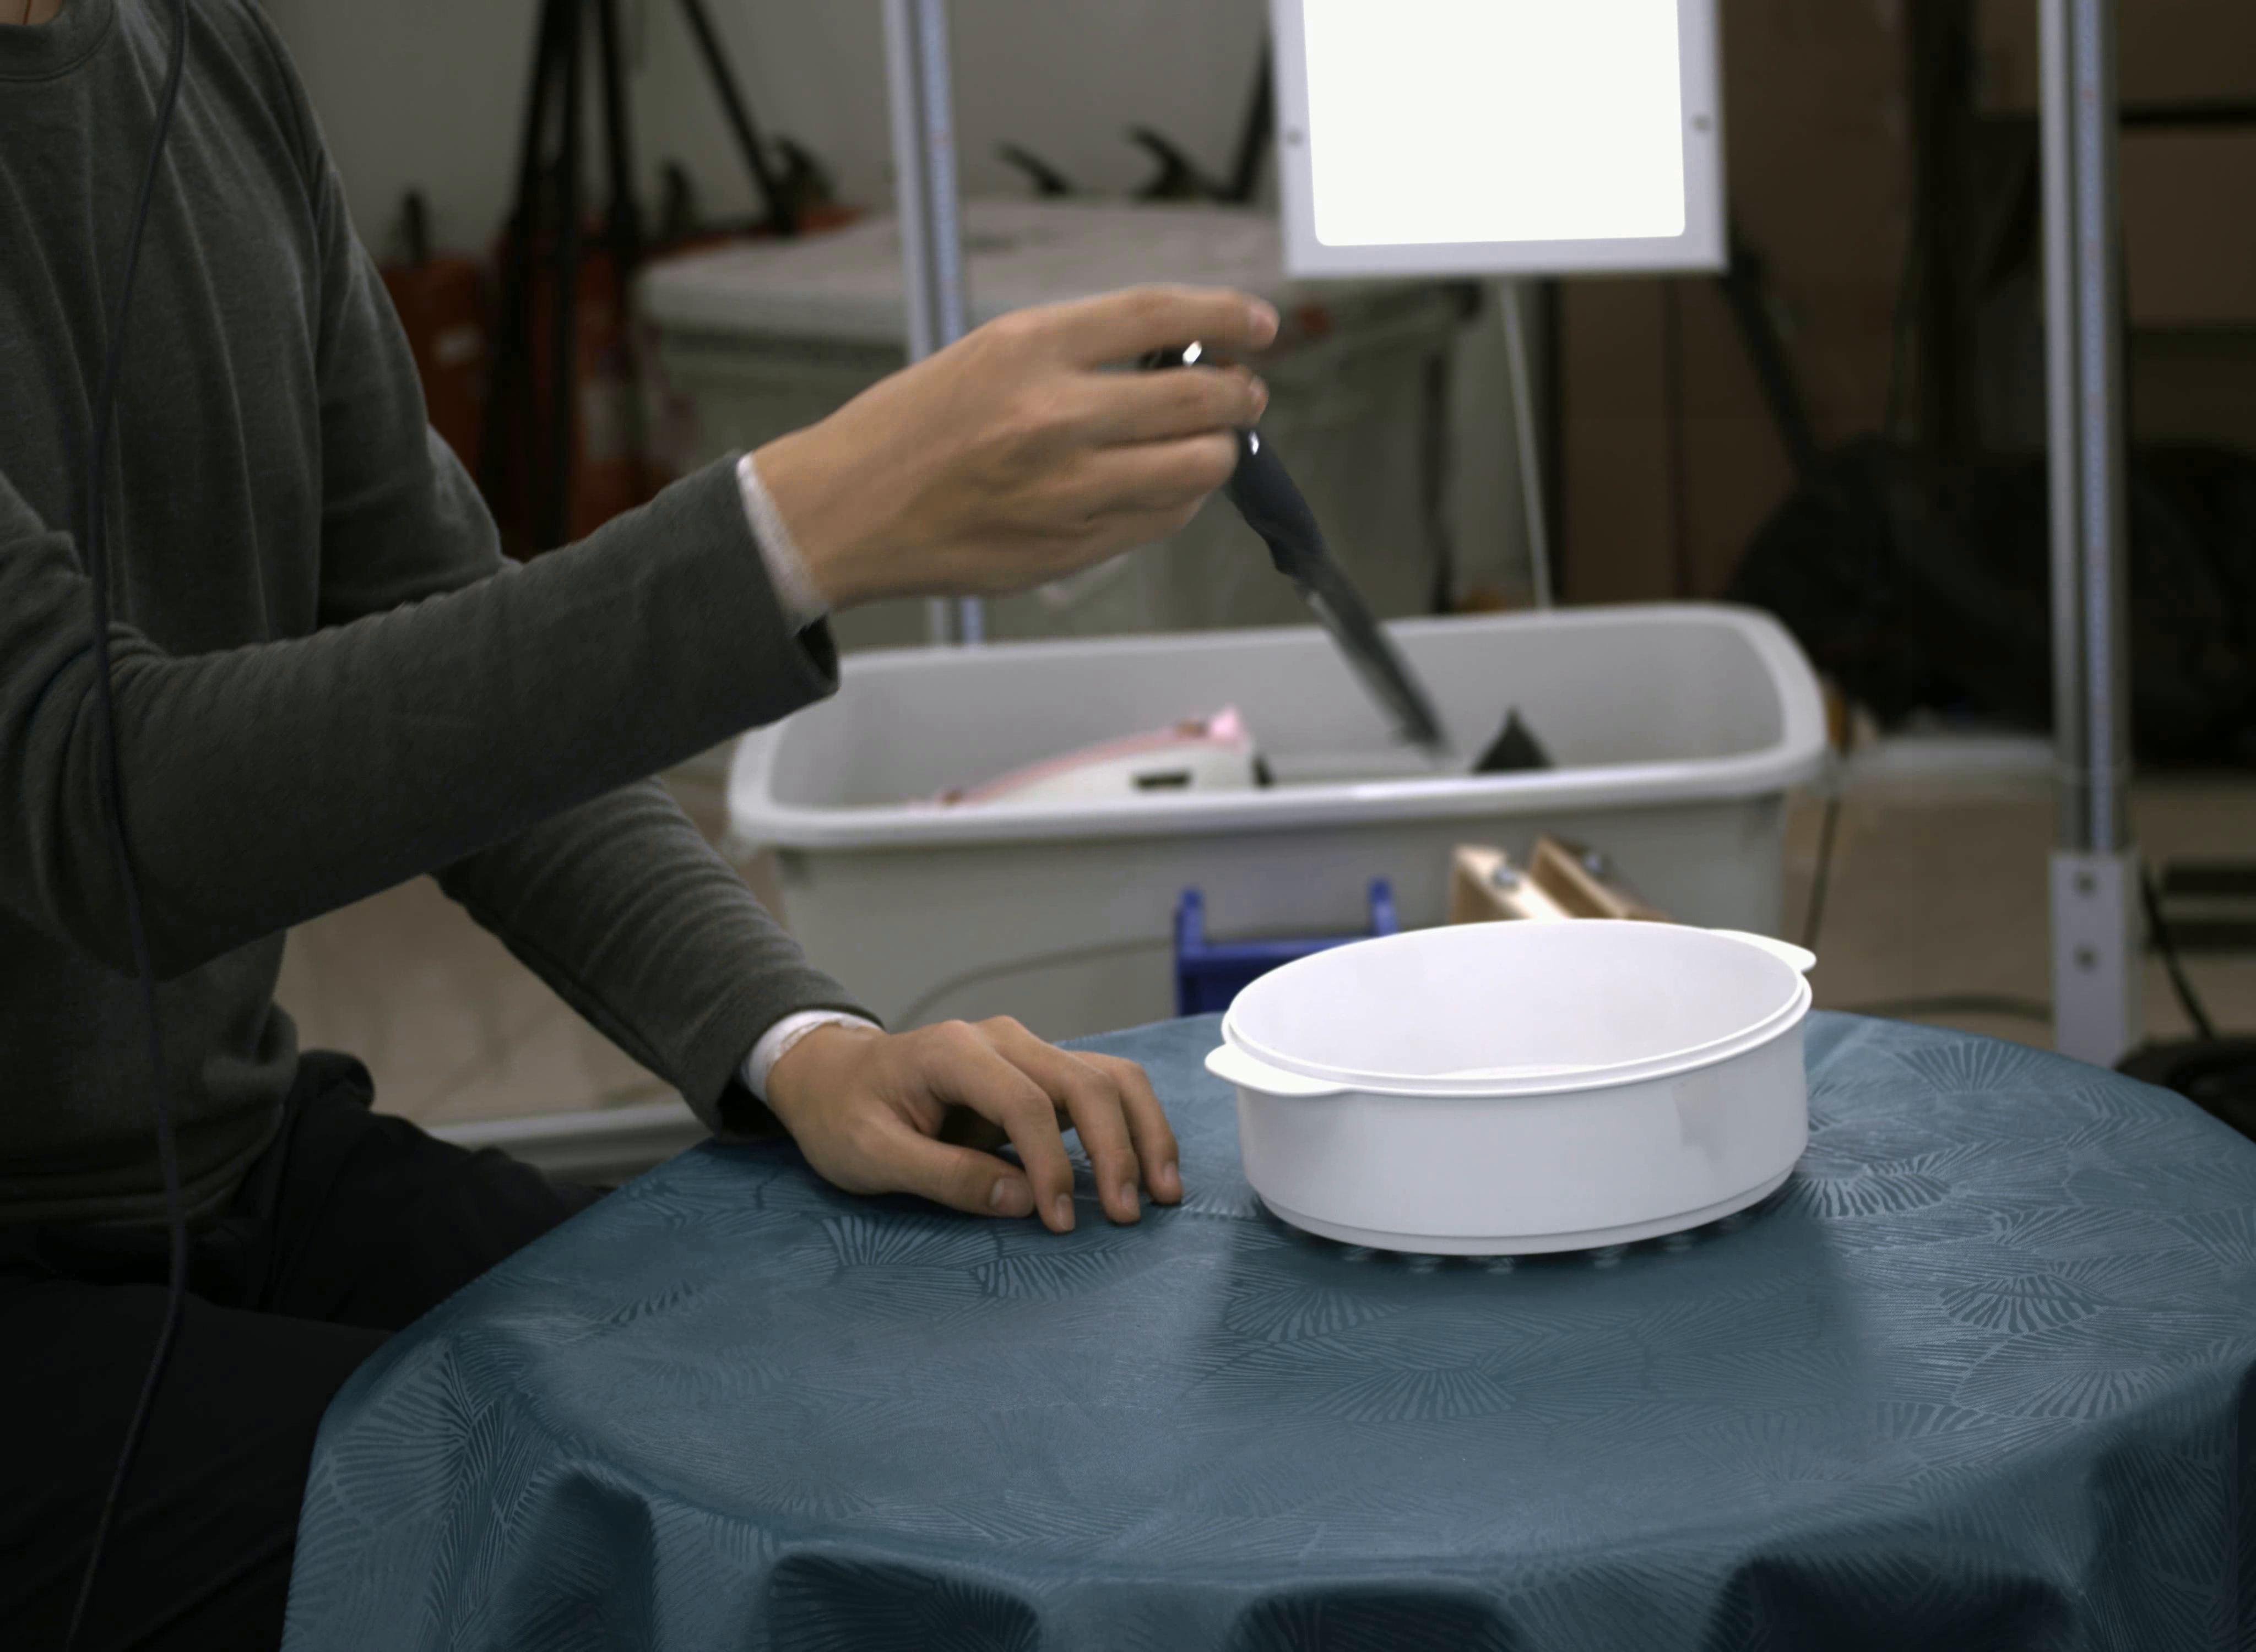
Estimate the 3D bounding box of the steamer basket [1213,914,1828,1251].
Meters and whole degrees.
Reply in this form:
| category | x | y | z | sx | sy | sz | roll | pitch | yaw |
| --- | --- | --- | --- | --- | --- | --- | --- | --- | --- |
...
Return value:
| category | x | y | z | sx | sy | sz | roll | pitch | yaw |
| --- | --- | --- | --- | --- | --- | --- | --- | --- | --- |
| steamer basket | 0.138 | 0.087 | 1.868 | 0.225 | 0.069 | 0.205 | -13 | 15 | -27 |

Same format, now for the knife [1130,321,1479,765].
| category | x | y | z | sx | sy | sz | roll | pitch | yaw |
| --- | --- | --- | --- | --- | --- | --- | --- | --- | --- |
| knife | 0.062 | -0.087 | 1.741 | 0.016 | 0.235 | 0.024 | -9 | 52 | 29 |
